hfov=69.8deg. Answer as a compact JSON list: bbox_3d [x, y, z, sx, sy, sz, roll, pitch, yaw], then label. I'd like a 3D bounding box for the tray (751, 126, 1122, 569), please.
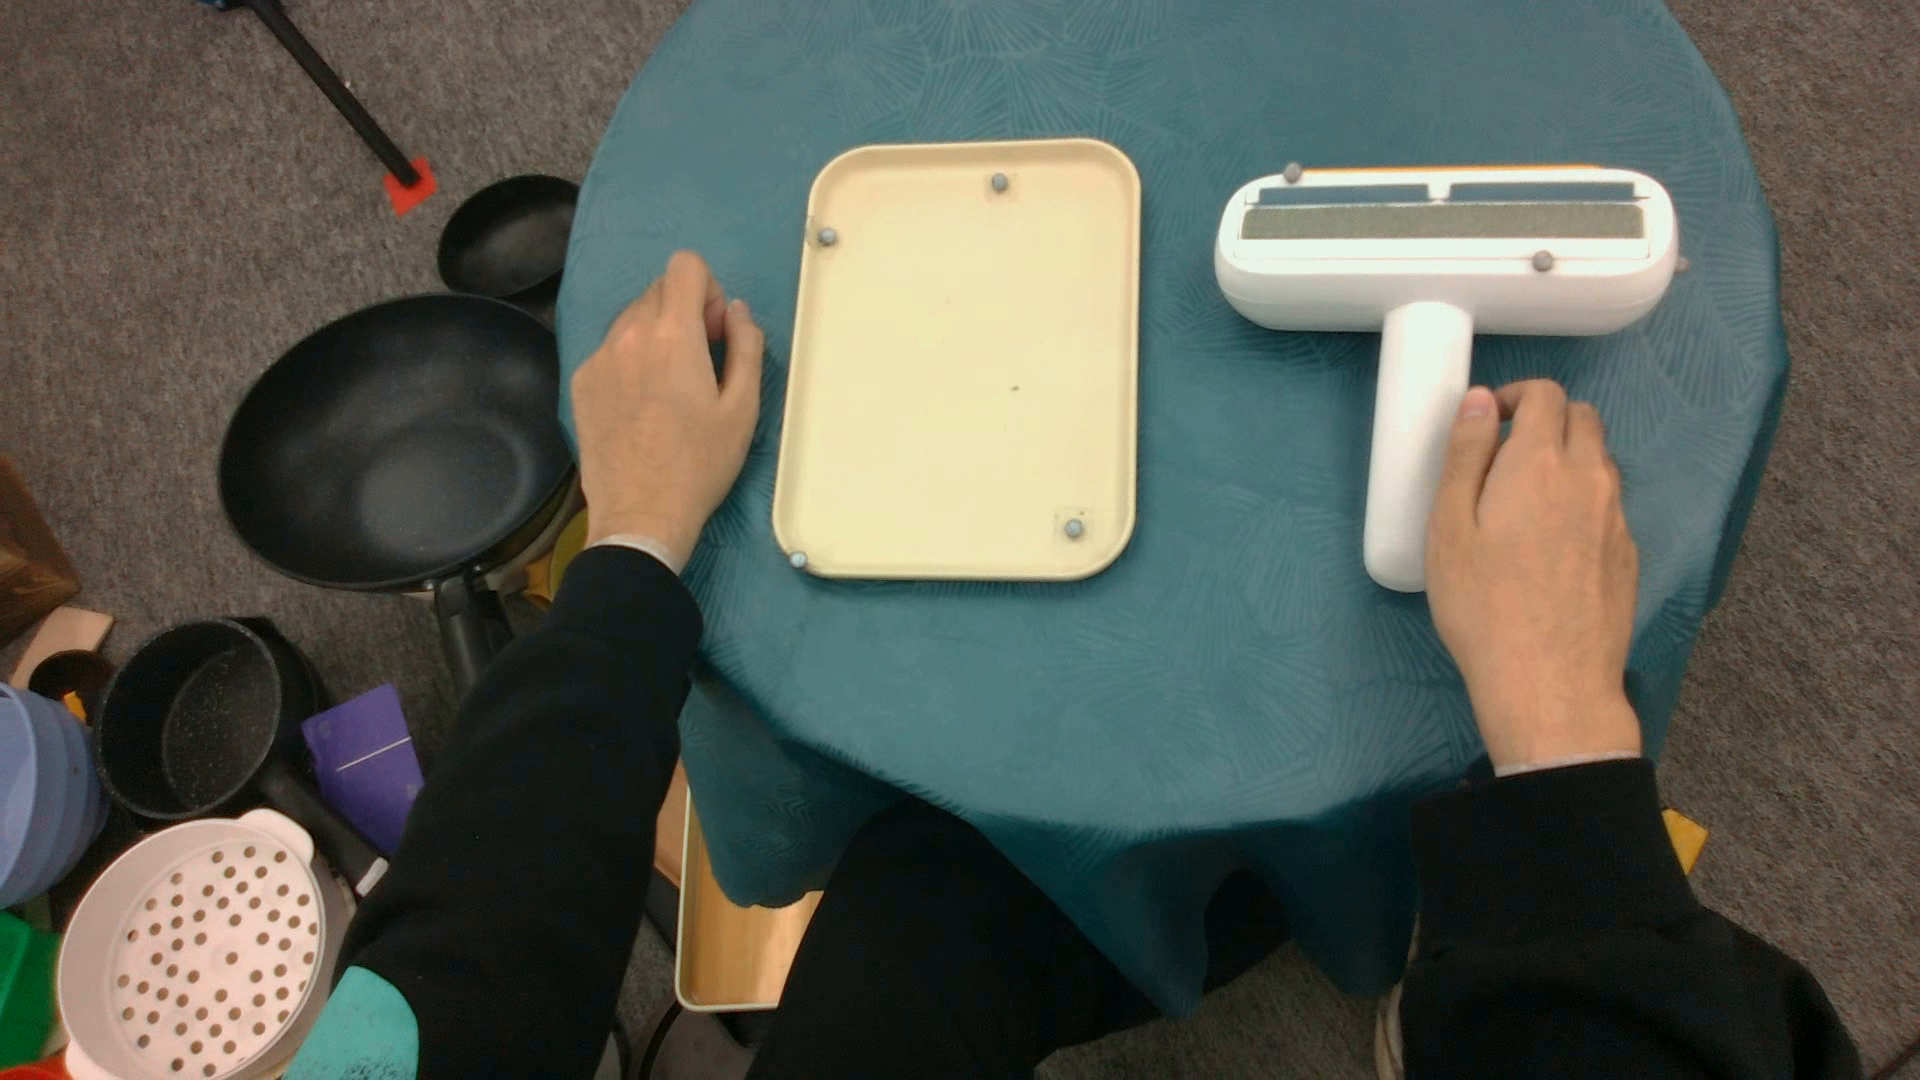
[{"bbox_3d":[-0.008,-0.098,0.670,0.171,0.017,0.240,1,68,7],"label":"tray"}]

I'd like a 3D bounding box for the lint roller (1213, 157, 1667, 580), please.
[{"bbox_3d":[0.199,-0.078,0.611,0.192,0.074,0.193,10,71,16],"label":"lint roller"}]
